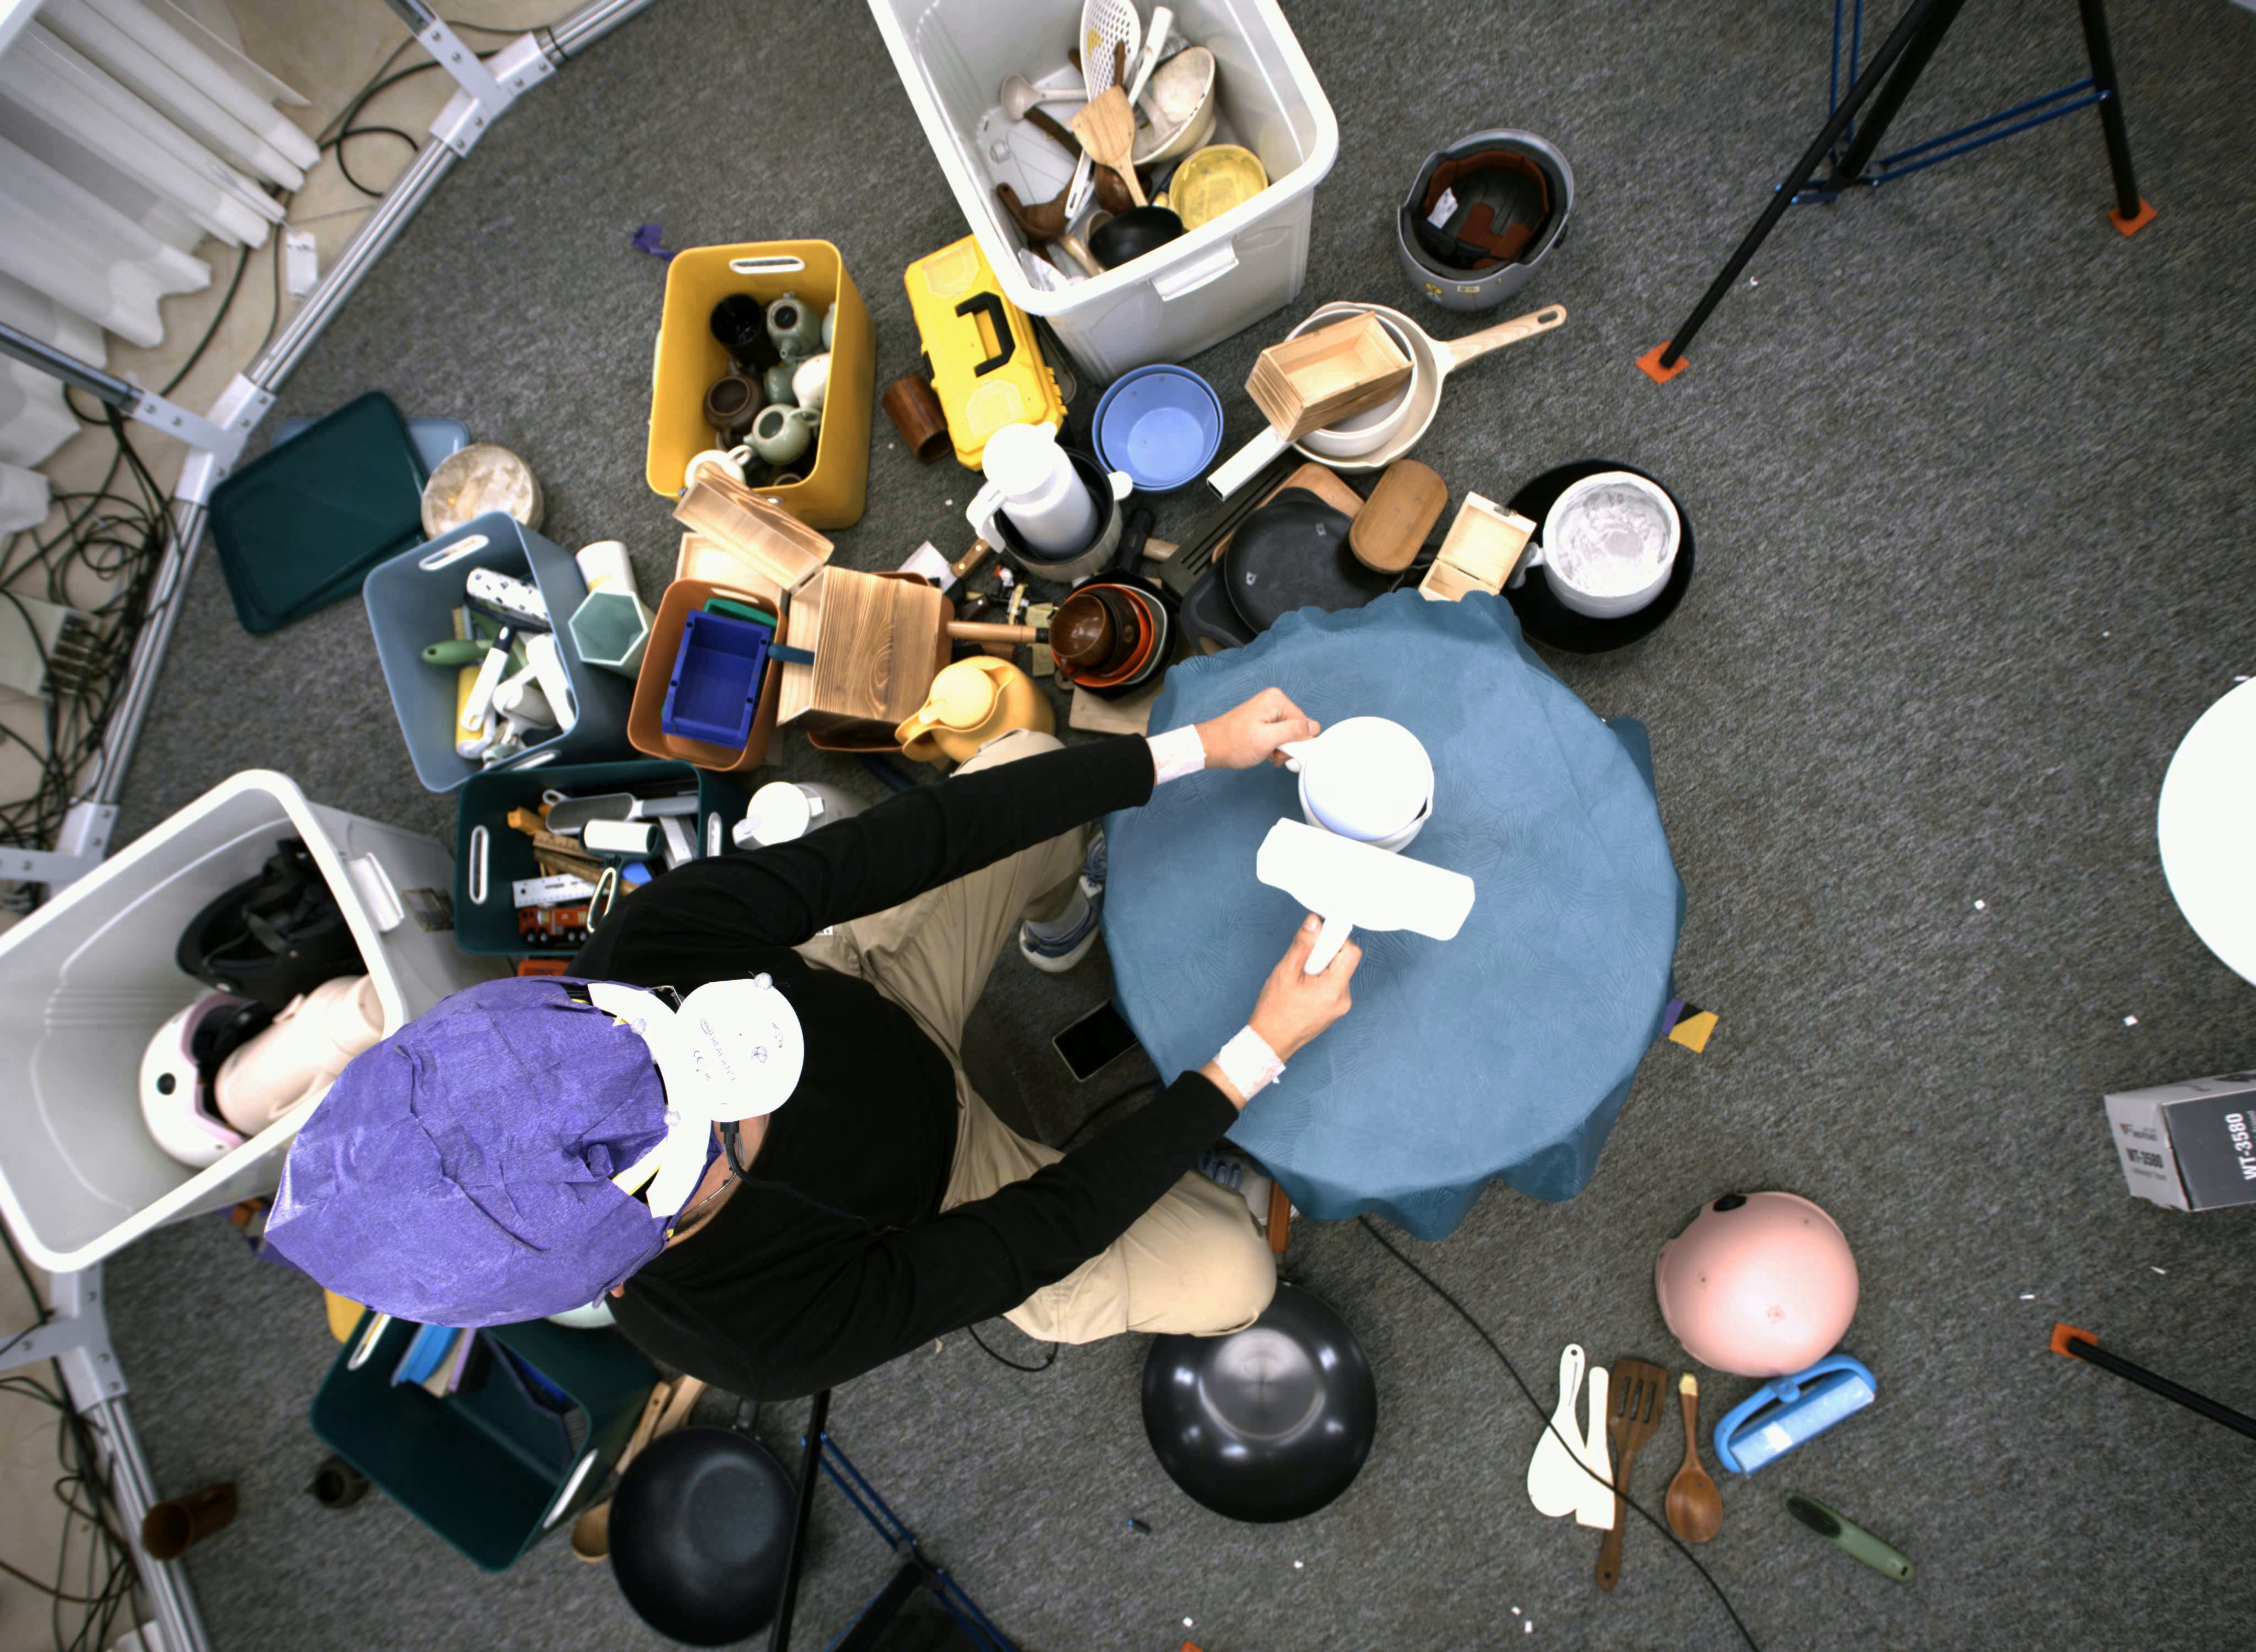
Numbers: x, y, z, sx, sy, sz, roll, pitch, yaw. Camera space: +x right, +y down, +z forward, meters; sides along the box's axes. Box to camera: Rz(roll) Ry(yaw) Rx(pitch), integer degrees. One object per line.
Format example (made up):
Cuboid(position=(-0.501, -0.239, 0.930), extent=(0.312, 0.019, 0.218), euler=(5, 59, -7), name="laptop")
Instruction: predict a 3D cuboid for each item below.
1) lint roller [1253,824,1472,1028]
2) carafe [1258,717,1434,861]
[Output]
Cuboid(position=(0.193, 0.115, 1.329), extent=(0.203, 0.047, 0.231), euler=(17, 123, -9), name="lint roller")
Cuboid(position=(0.217, -0.047, 1.389), extent=(0.191, 0.183, 0.132), euler=(27, 89, 13), name="carafe")
